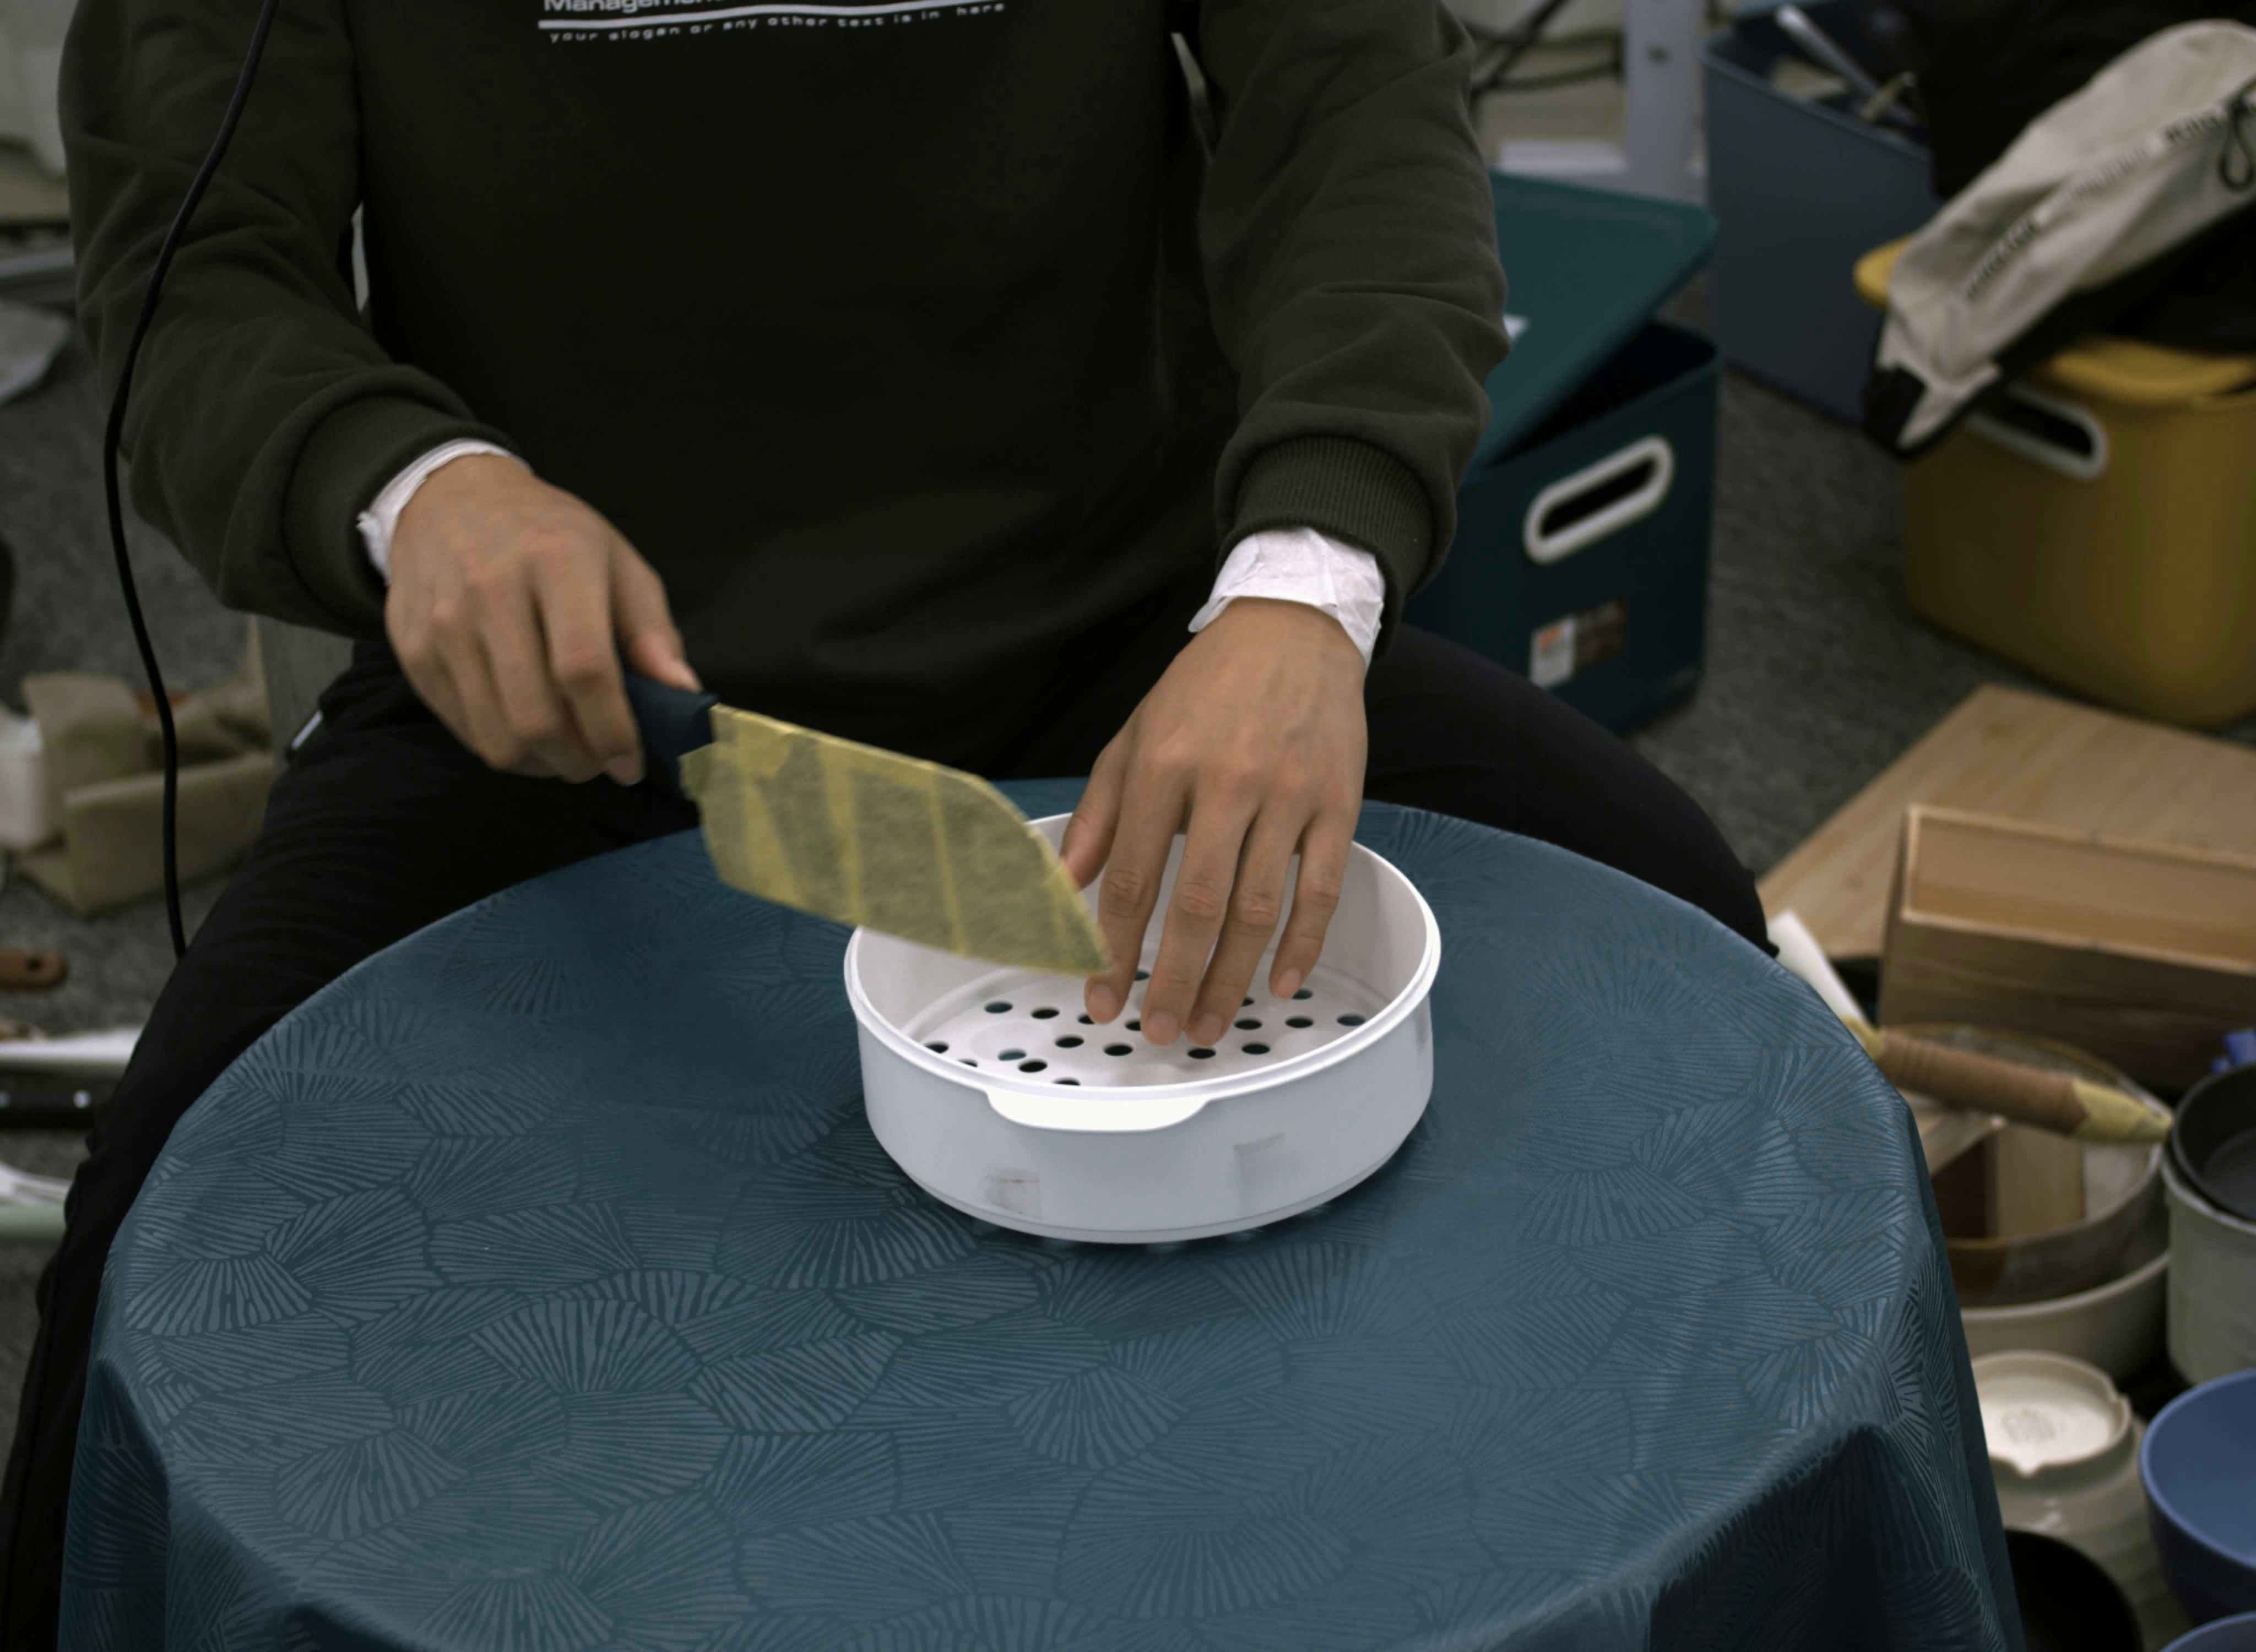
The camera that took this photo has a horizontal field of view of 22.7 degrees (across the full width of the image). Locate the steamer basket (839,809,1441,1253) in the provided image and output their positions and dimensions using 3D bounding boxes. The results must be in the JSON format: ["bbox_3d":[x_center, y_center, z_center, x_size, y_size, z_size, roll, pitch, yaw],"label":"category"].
[{"bbox_3d":[0.005,0.070,1.889,0.200,0.068,0.234,3,26,9],"label":"steamer basket"}]

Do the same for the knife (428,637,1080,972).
[{"bbox_3d":[-0.125,-0.009,1.849,0.288,0.080,0.027,20,36,36],"label":"knife"}]
